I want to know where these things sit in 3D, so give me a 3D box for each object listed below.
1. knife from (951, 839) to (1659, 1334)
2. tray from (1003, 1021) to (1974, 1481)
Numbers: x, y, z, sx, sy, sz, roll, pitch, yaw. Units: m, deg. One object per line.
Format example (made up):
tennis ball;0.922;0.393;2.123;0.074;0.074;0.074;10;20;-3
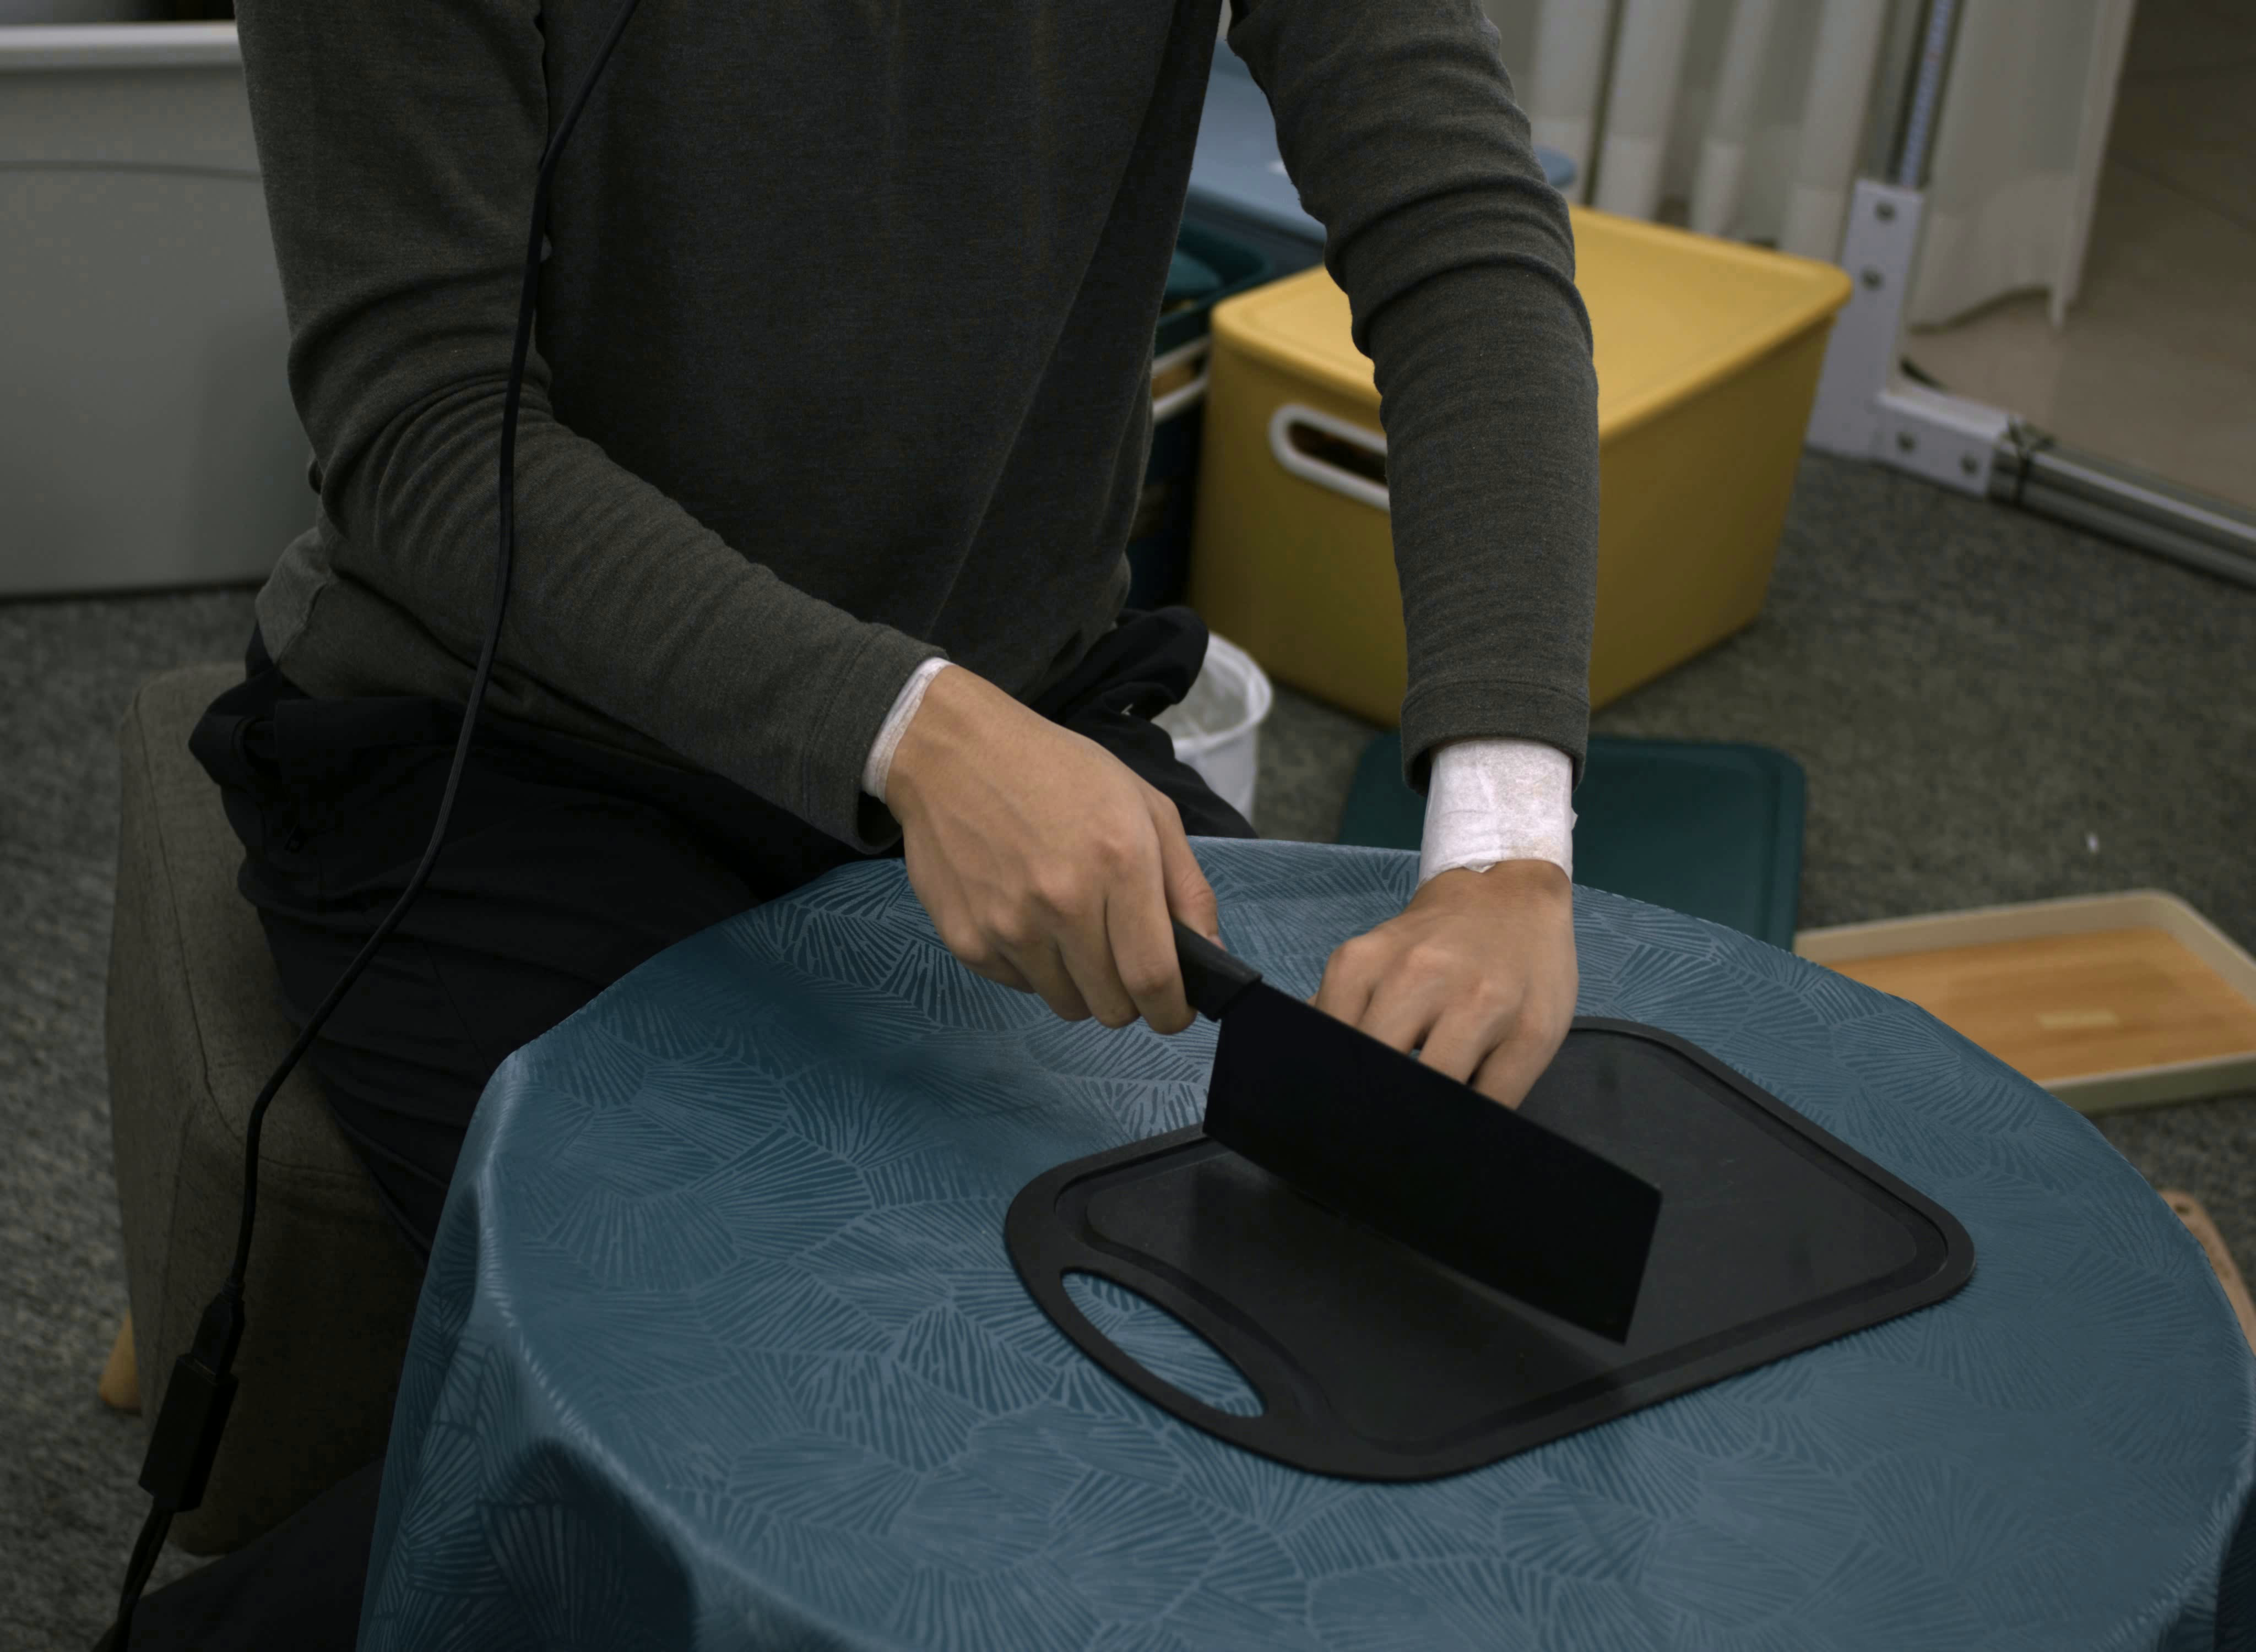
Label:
knife;0.054;0.082;1.799;0.304;0.081;0.021;31;30;31
tray;0.118;0.139;1.796;0.323;0.010;0.213;-14;33;-34
